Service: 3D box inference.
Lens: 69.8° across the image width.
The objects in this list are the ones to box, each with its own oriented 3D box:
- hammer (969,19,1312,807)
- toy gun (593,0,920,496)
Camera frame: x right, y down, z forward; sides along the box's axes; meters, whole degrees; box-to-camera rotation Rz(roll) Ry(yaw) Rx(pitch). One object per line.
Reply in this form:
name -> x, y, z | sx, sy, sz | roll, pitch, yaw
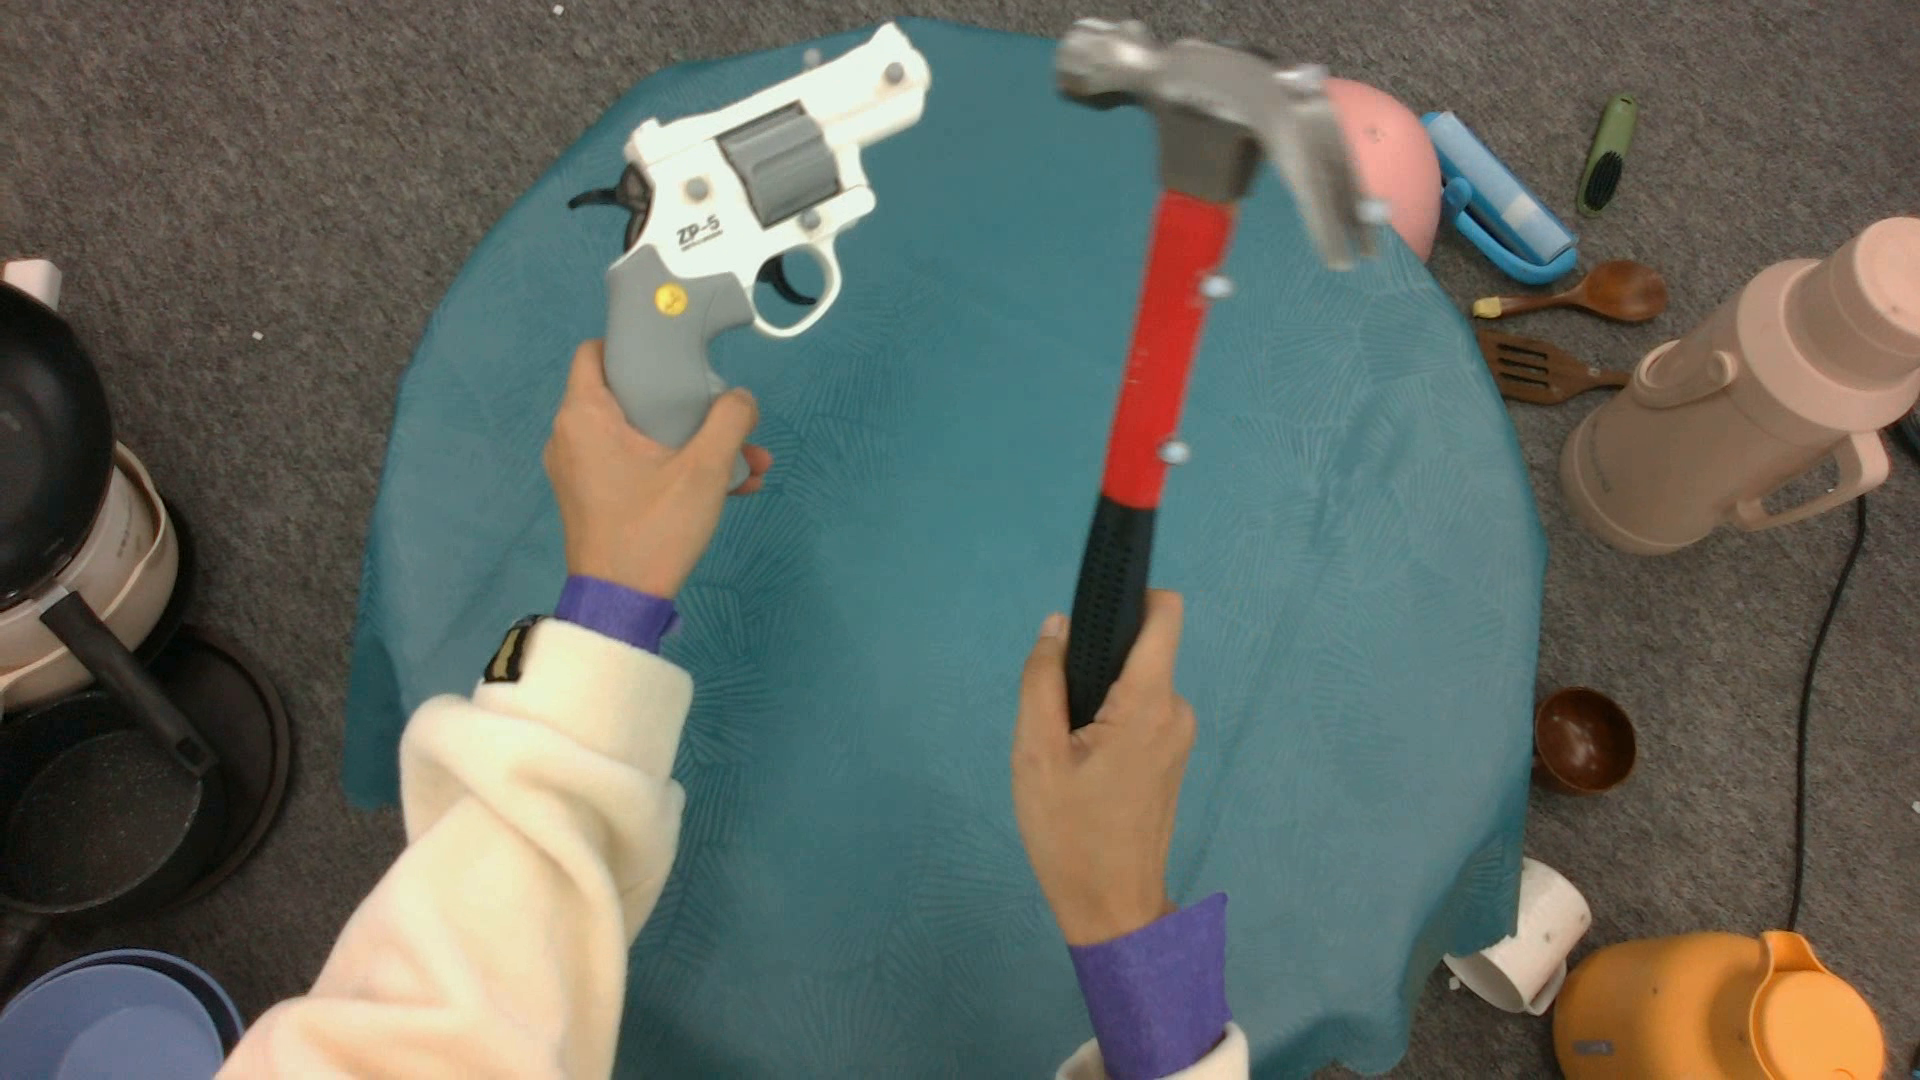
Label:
hammer -> 0.046, -0.024, 0.463 | 0.110, 0.276, 0.026 | 21, 33, 29
toy gun -> -0.080, -0.123, 0.568 | 0.210, 0.039, 0.141 | -35, 105, -22
